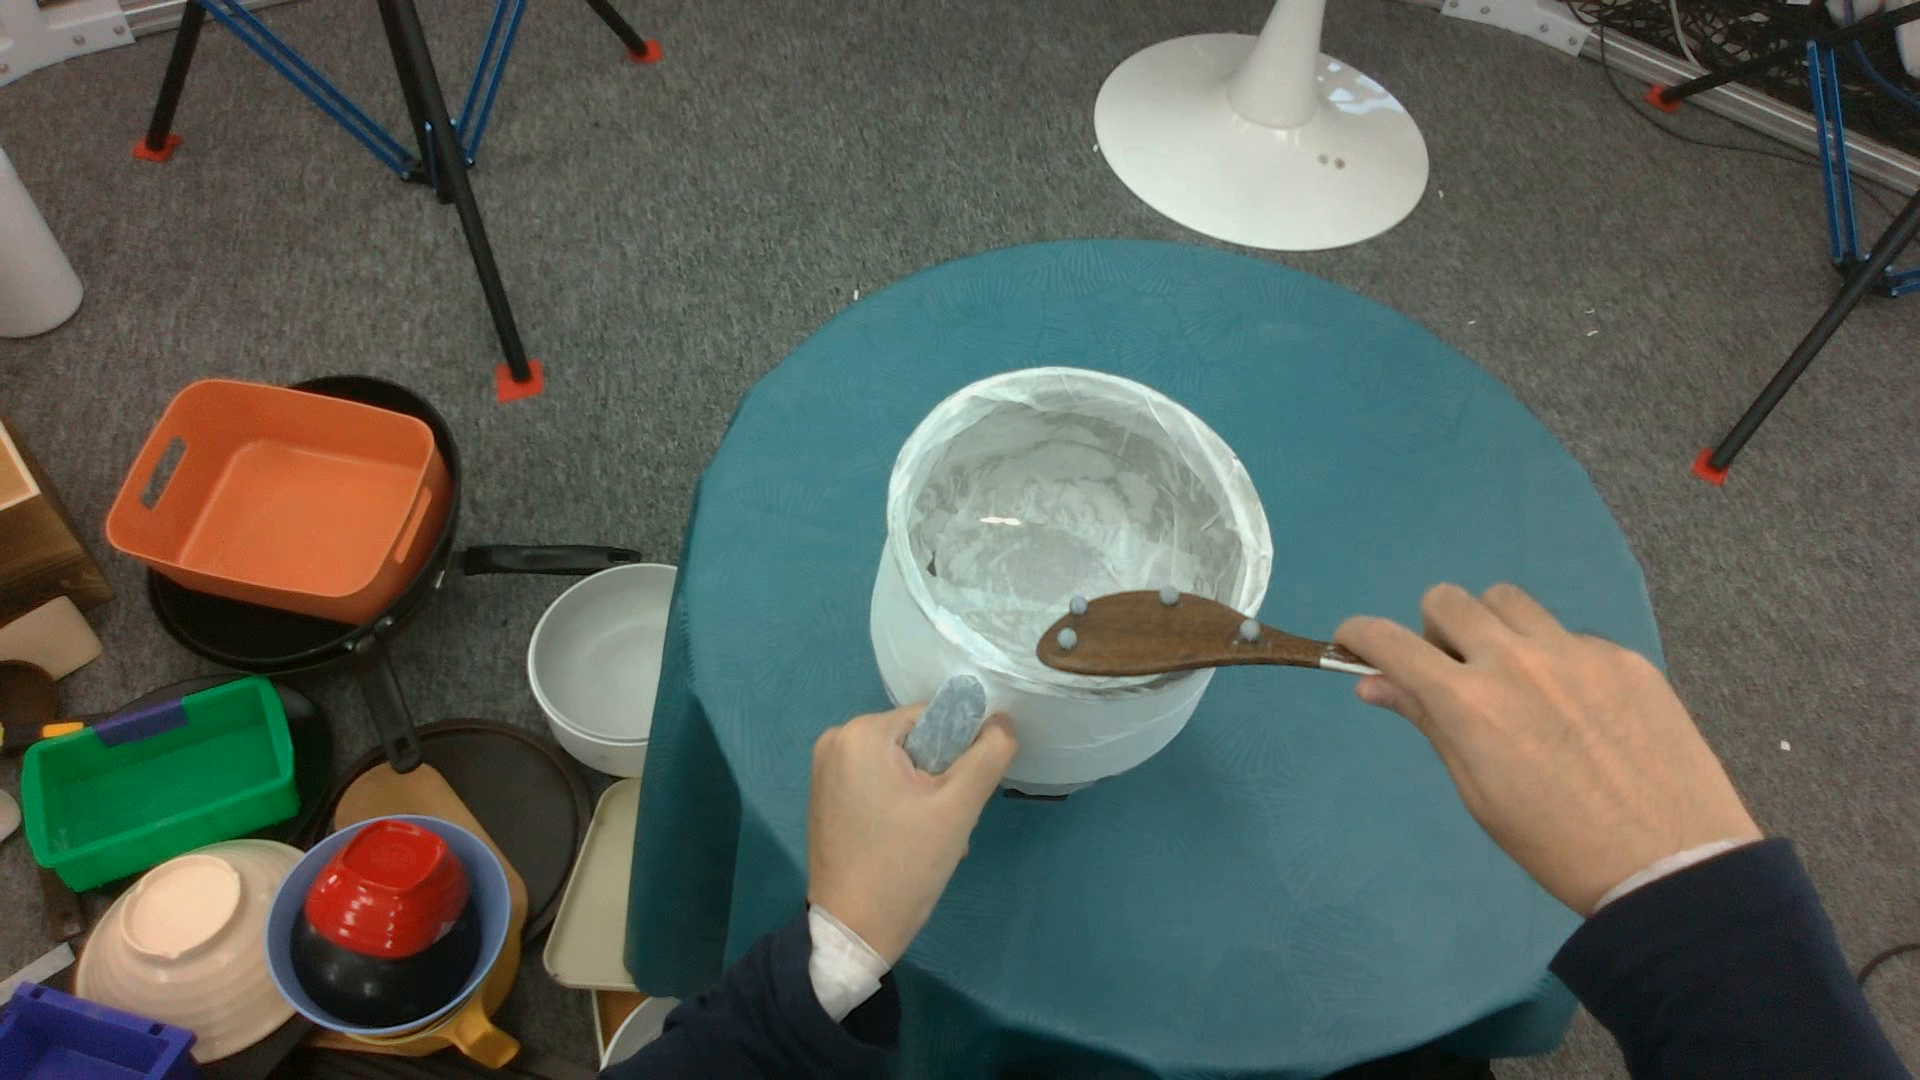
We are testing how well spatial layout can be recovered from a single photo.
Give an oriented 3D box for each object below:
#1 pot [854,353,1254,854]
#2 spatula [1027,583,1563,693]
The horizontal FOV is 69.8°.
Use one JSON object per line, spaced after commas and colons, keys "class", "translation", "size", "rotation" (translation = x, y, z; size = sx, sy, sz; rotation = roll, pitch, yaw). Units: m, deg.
{"class": "pot", "translation": [0.026, 0.037, 0.660], "size": [0.178, 0.136, 0.235], "rotation": [28, 57, 10]}
{"class": "spatula", "translation": [0.125, 0.043, 0.552], "size": [0.215, 0.009, 0.072], "rotation": [6, 28, 29]}
